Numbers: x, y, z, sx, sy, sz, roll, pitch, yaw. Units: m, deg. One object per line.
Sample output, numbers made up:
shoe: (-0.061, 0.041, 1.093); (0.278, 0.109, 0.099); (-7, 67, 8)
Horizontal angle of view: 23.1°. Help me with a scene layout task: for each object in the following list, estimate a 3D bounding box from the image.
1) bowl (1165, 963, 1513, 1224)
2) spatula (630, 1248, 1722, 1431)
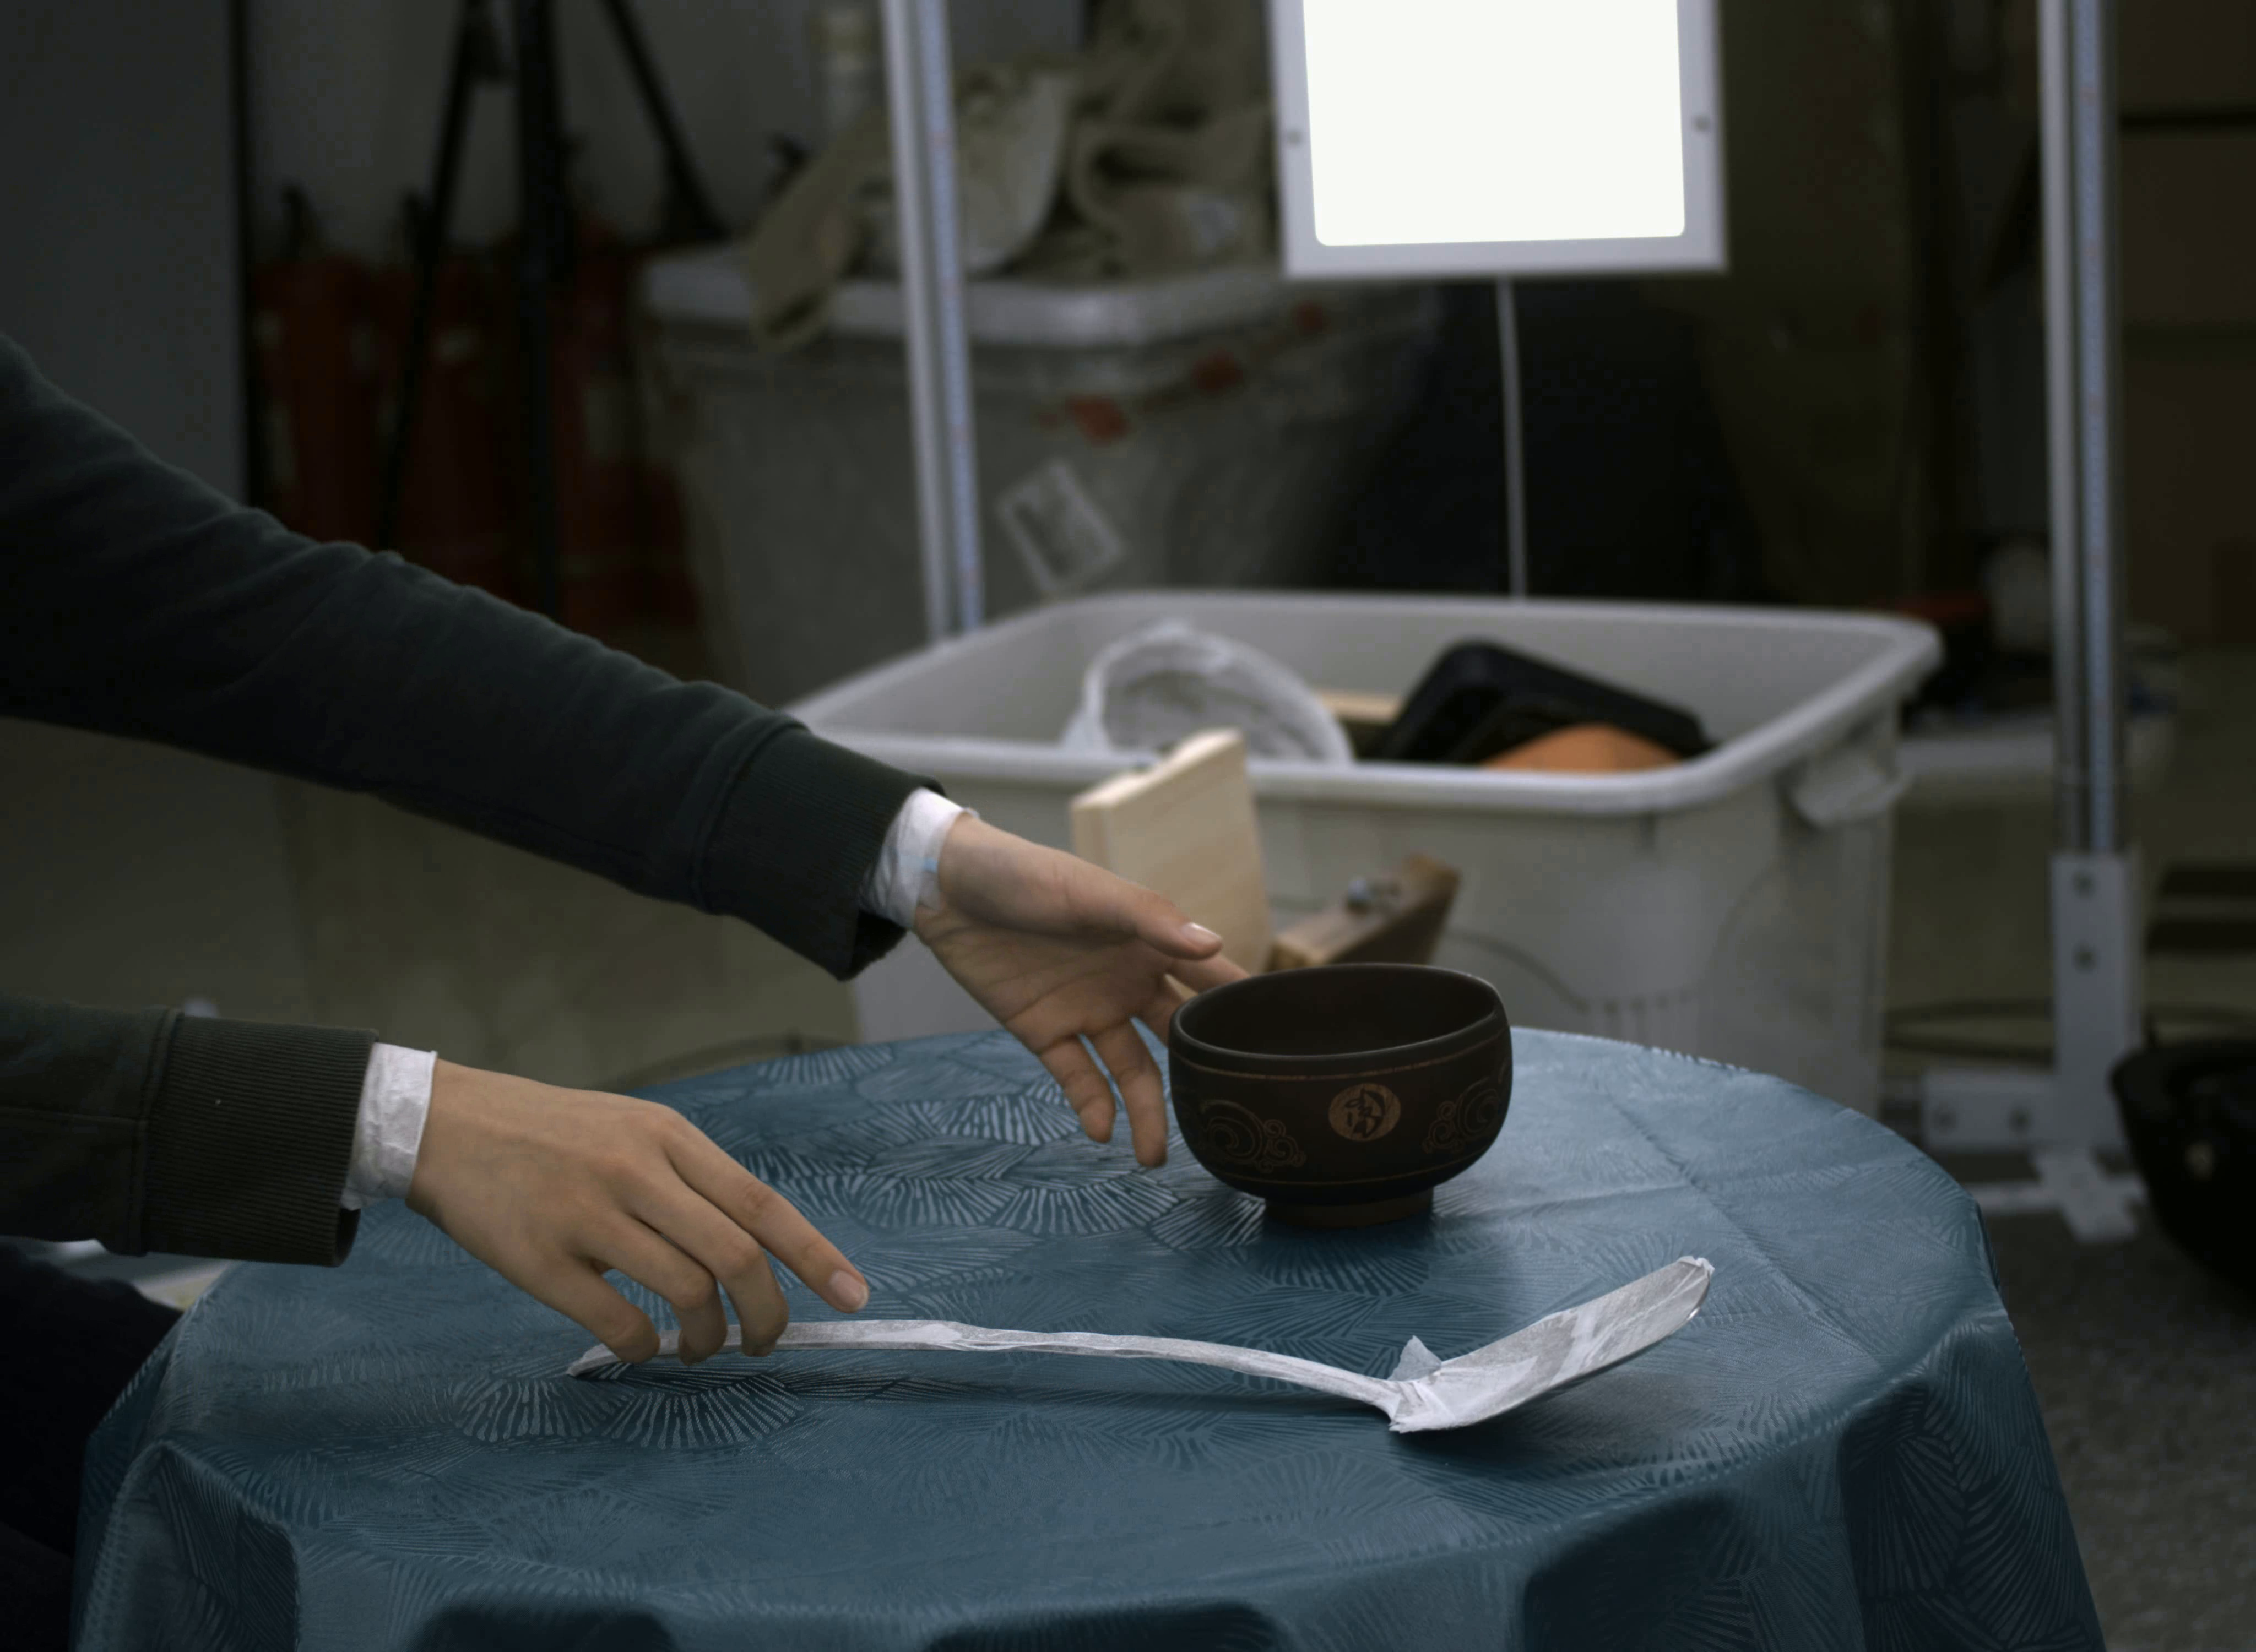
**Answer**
bowl: (0.073, 0.093, 1.857); (0.118, 0.070, 0.118); (-5, 12, 0)
spatula: (0.004, 0.156, 1.696); (0.370, 0.045, 0.097); (1, 17, 23)
